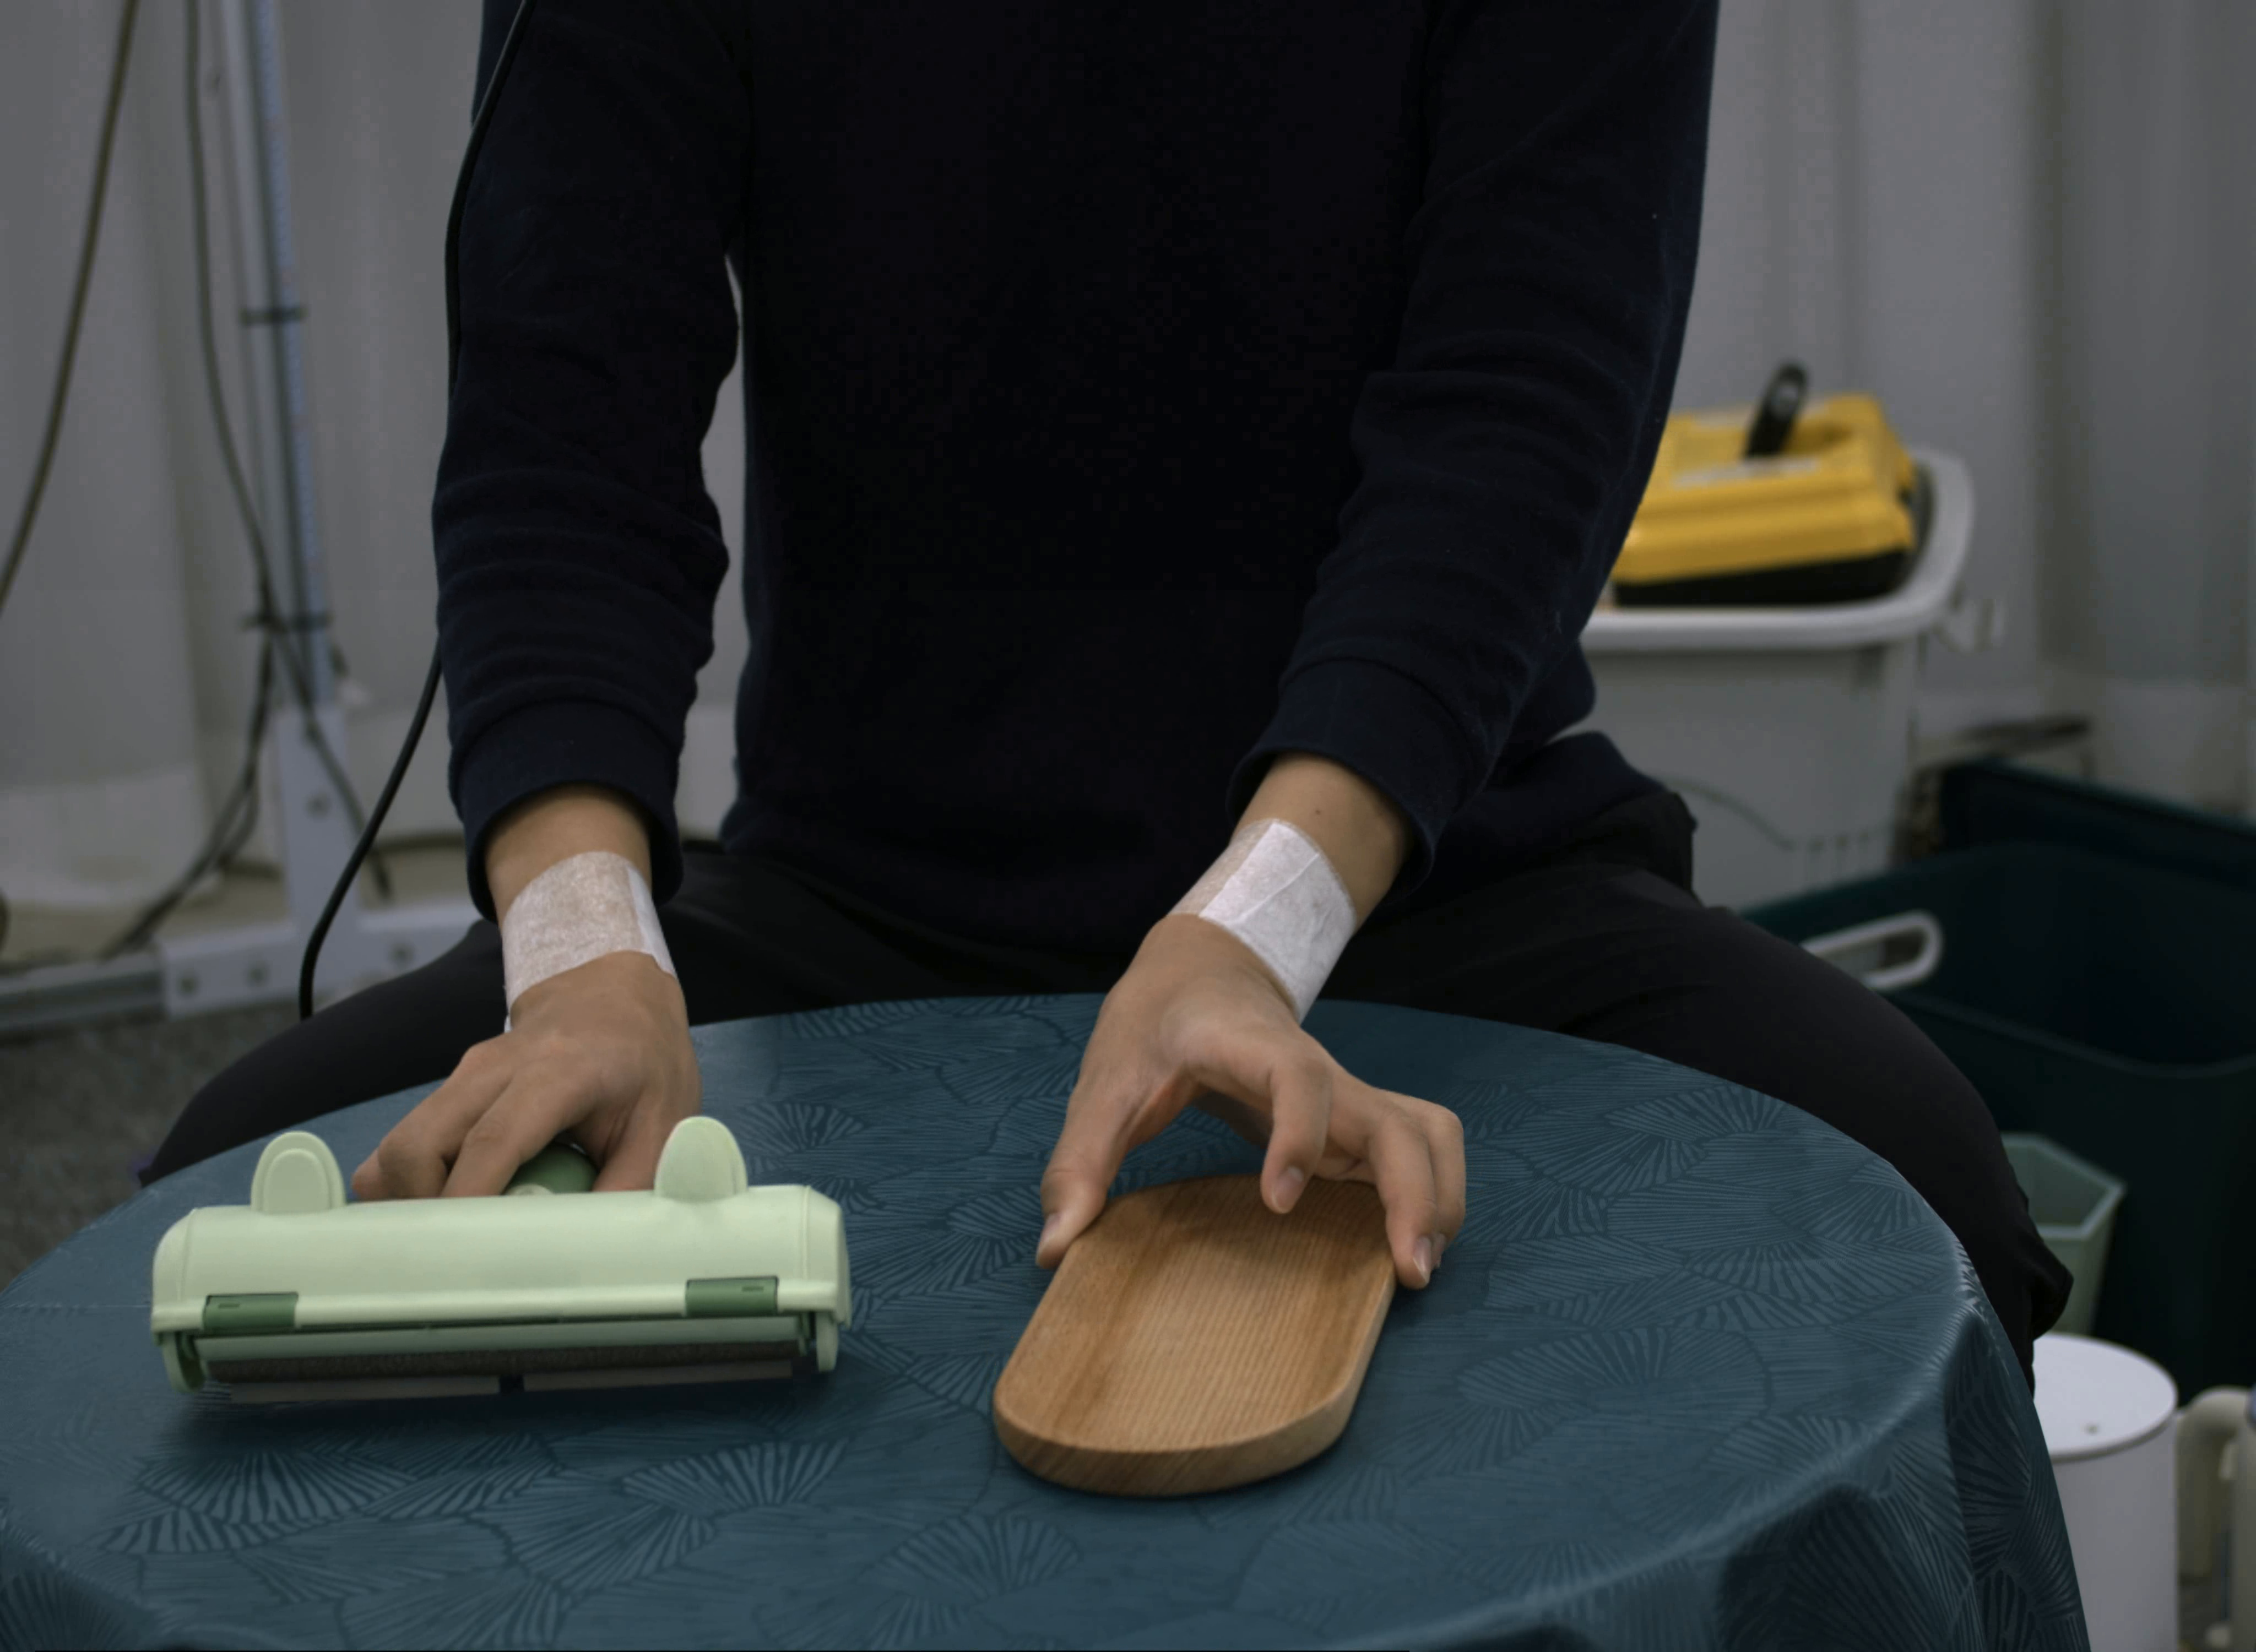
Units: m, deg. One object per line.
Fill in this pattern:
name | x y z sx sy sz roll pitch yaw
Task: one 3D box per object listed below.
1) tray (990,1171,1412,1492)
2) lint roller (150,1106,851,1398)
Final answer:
tray | 0.024 0.143 1.574 0.101 0.020 0.232 0 14 10
lint roller | -0.180 0.104 1.614 0.198 0.081 0.185 -2 23 0
